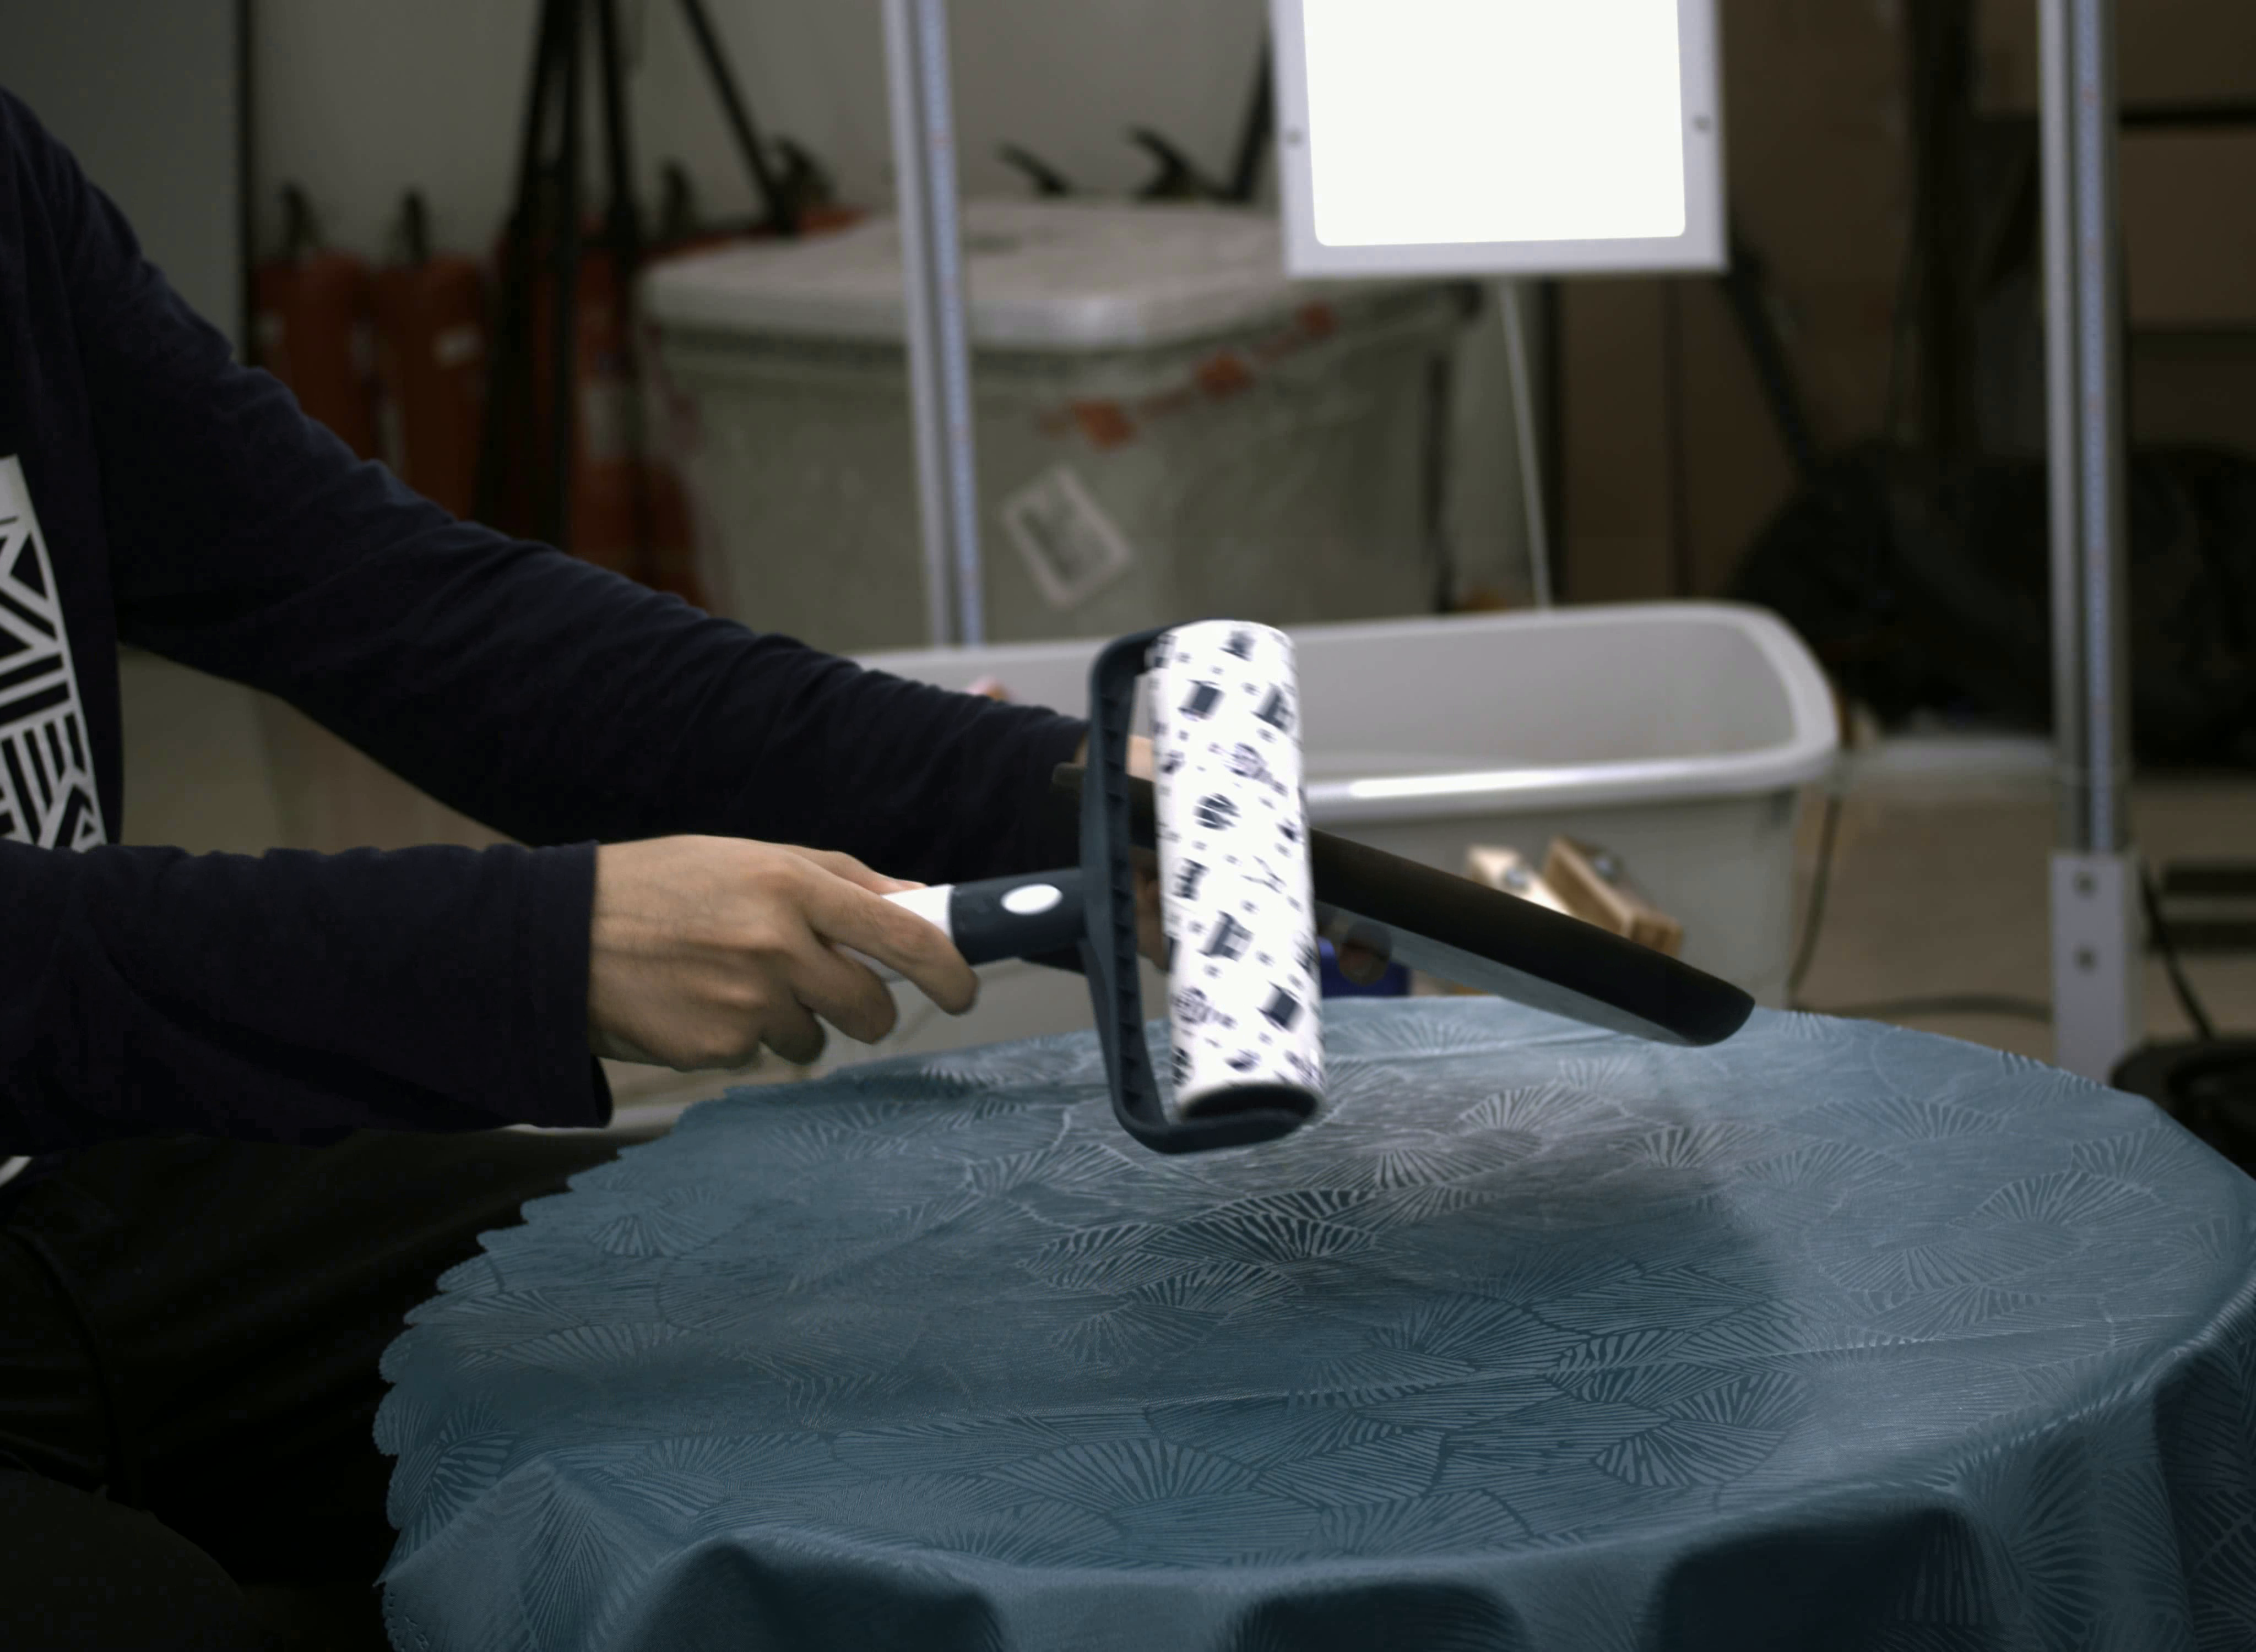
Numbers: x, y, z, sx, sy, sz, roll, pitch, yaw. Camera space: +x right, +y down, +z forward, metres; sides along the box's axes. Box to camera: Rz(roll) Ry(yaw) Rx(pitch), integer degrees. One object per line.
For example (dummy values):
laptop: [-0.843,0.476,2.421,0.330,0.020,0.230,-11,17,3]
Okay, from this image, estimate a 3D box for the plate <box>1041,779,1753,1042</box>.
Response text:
plate: [0.090,0.029,1.877,0.254,0.029,0.255,18,-4,0]

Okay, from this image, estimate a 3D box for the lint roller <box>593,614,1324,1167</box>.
lint roller: [-0.060,0.036,1.762,0.250,0.176,0.050,-11,-23,17]
